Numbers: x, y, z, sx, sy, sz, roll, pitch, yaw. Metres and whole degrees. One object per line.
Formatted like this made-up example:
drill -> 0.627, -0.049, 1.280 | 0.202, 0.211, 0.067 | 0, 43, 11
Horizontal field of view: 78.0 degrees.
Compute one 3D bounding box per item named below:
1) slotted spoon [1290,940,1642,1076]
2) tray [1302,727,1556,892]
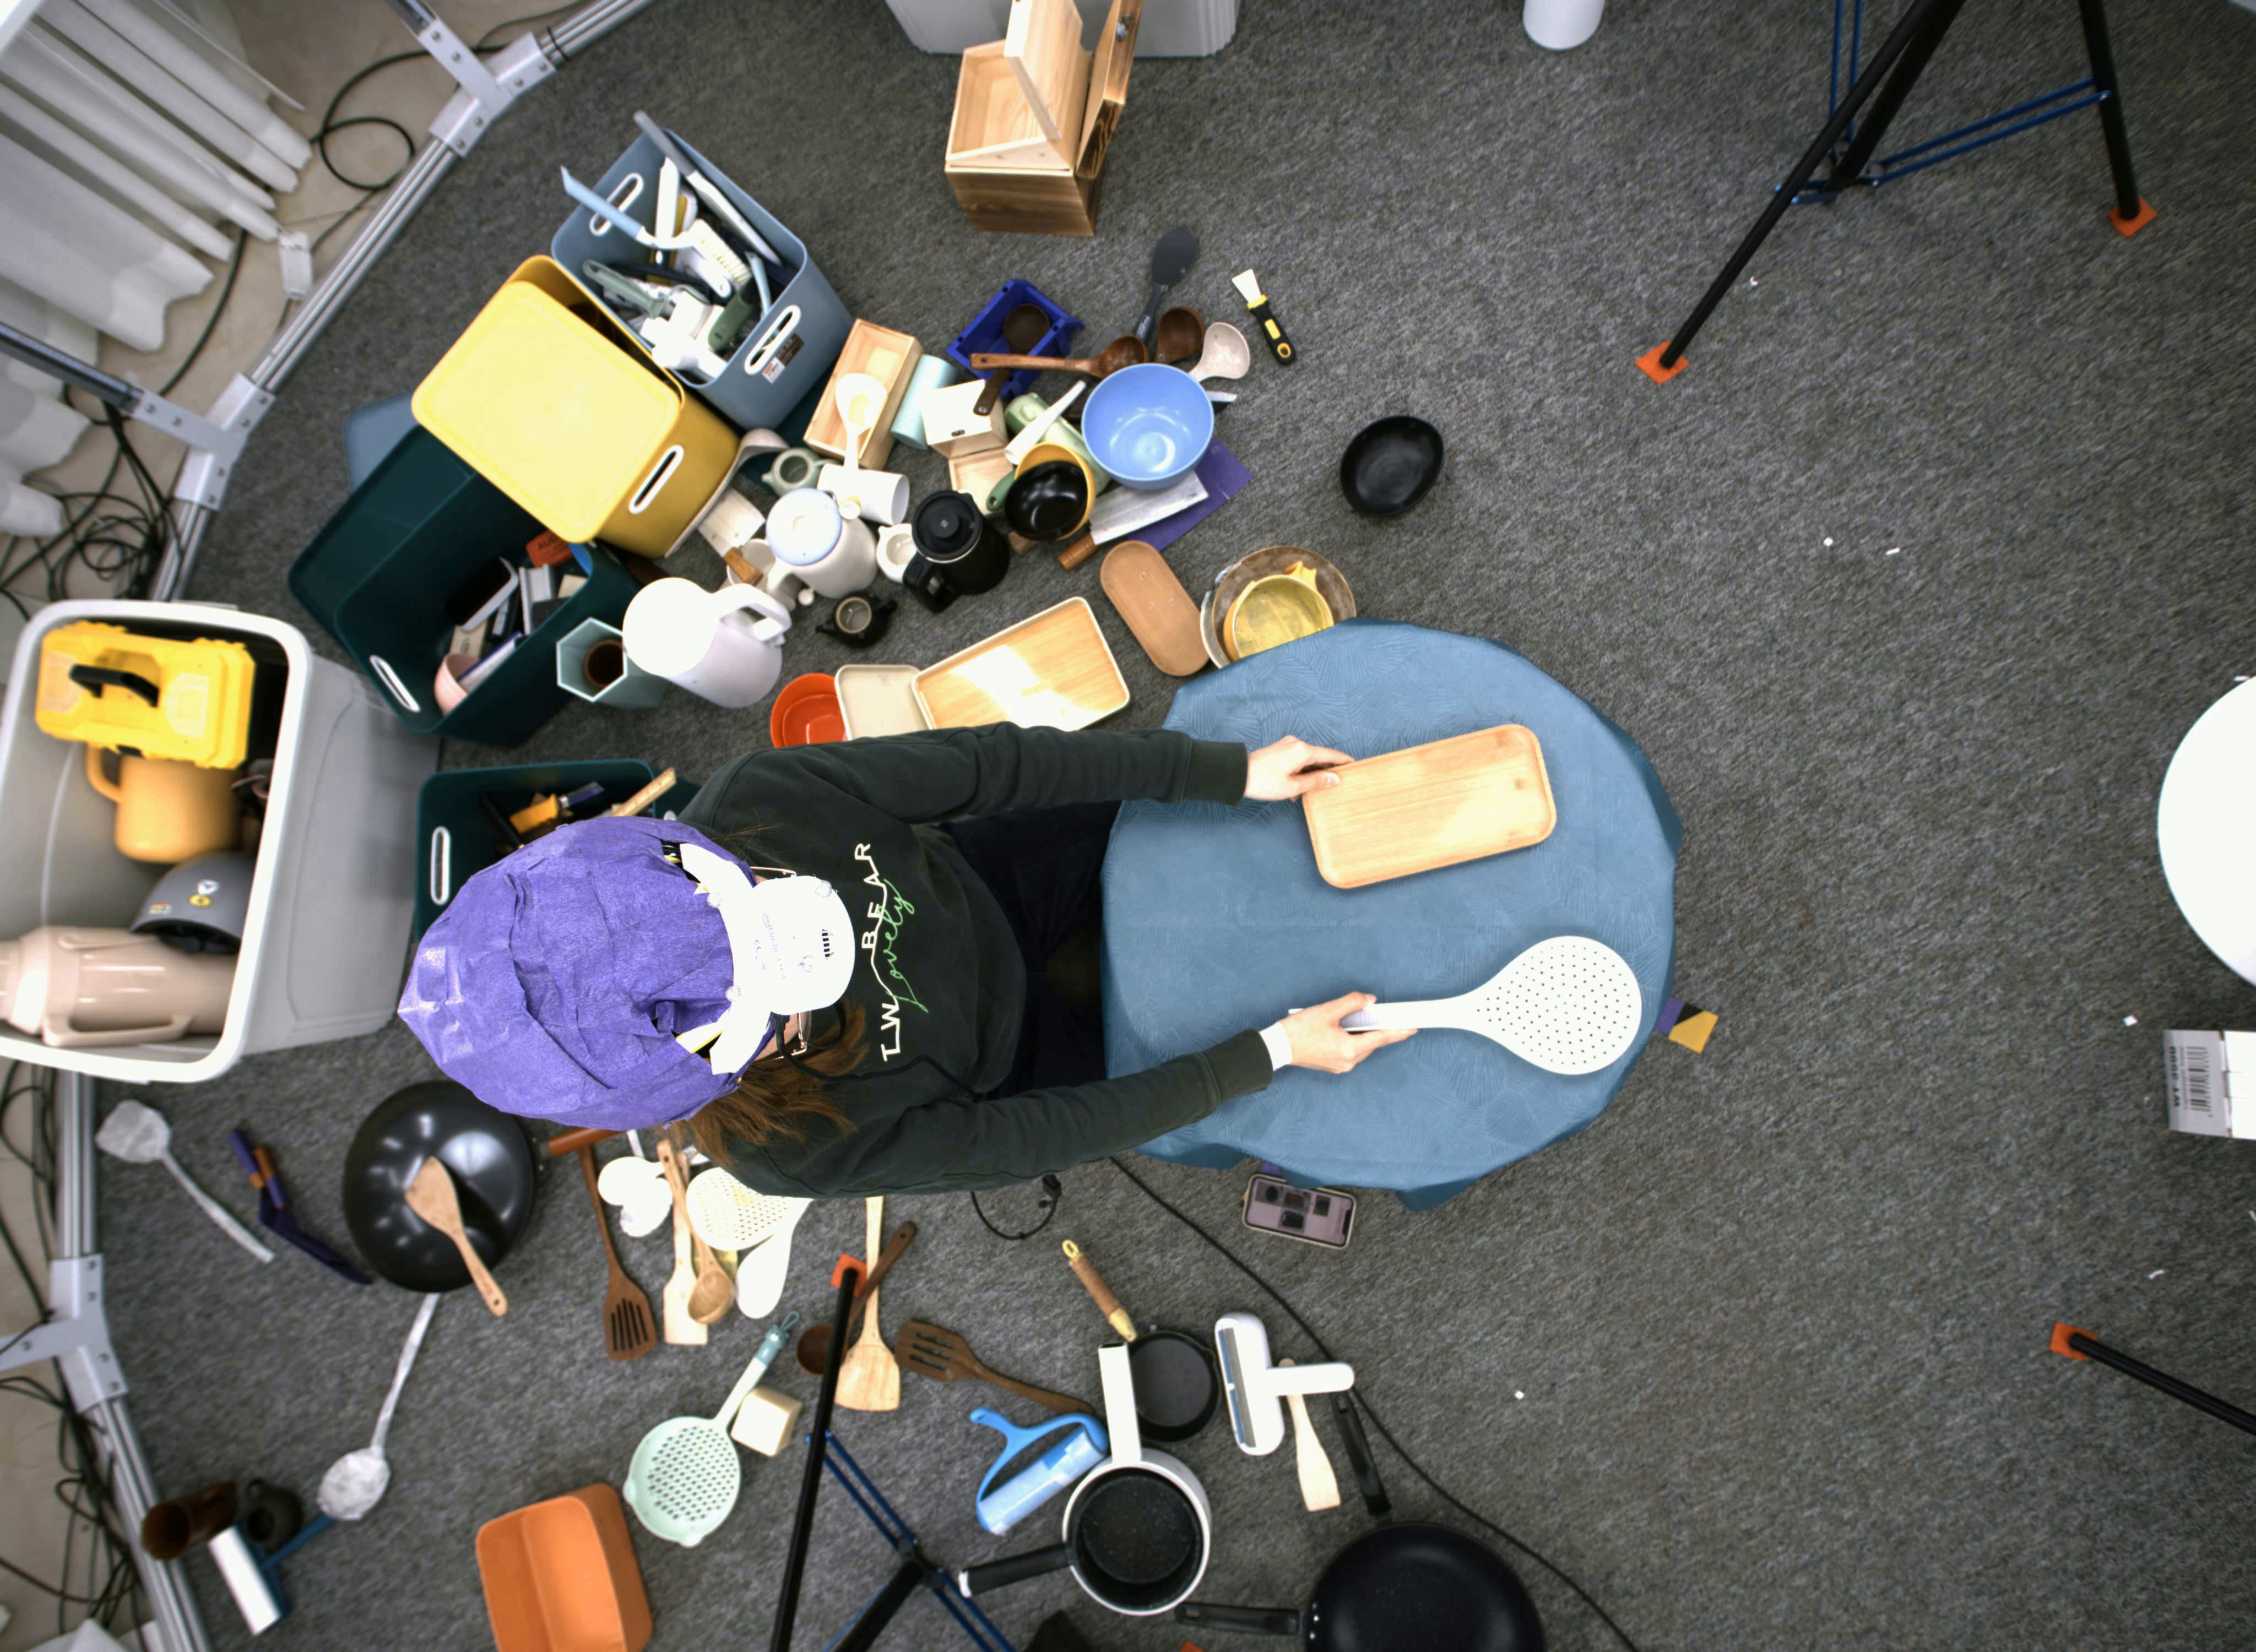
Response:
slotted spoon -> 0.341, 0.190, 1.410 | 0.351, 0.046, 0.135 | -4, 86, 6
tray -> 0.312, -0.018, 1.432 | 0.252, 0.023, 0.130 | -14, 90, 8
